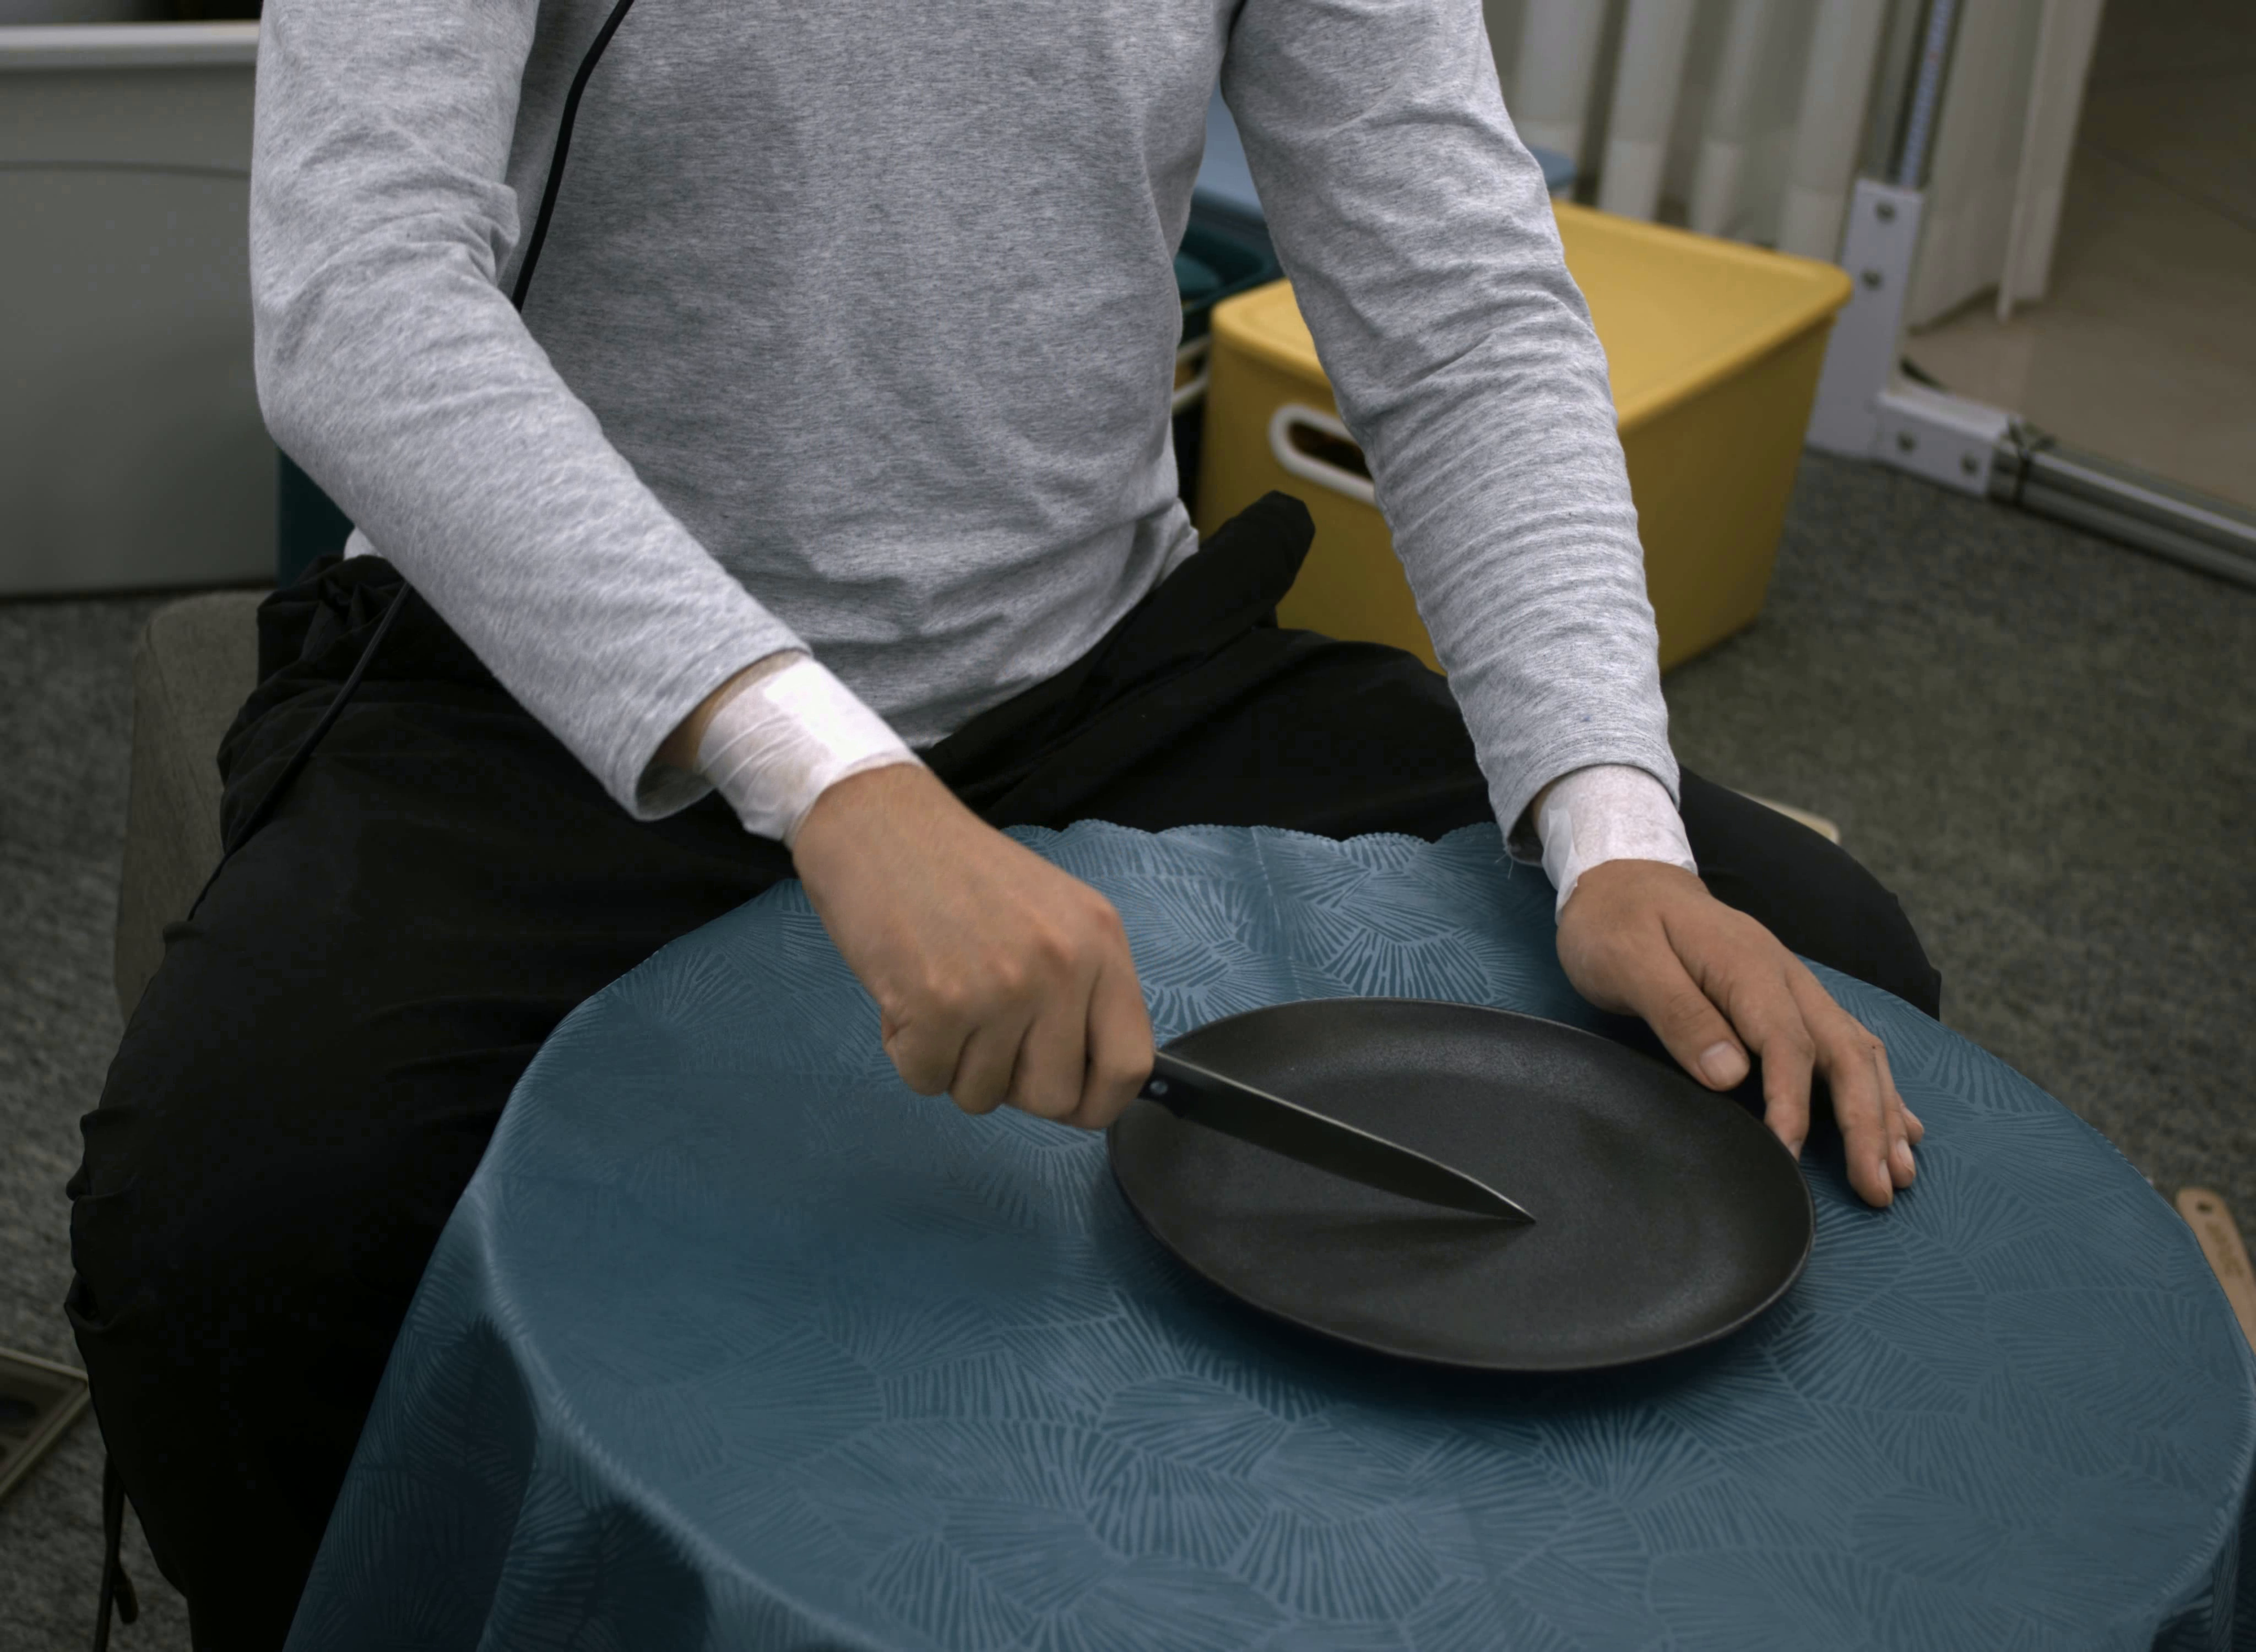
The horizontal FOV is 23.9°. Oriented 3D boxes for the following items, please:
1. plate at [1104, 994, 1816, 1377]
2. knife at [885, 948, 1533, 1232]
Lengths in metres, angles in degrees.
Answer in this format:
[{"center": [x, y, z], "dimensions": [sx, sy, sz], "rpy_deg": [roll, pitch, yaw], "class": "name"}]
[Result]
[{"center": [0.111, 0.125, 1.802], "dimensions": [0.243, 0.023, 0.246], "rpy_deg": [5, 27, -3], "class": "plate"}, {"center": [0.031, 0.090, 1.777], "dimensions": [0.237, 0.024, 0.016], "rpy_deg": [23, 33, -10], "class": "knife"}]
